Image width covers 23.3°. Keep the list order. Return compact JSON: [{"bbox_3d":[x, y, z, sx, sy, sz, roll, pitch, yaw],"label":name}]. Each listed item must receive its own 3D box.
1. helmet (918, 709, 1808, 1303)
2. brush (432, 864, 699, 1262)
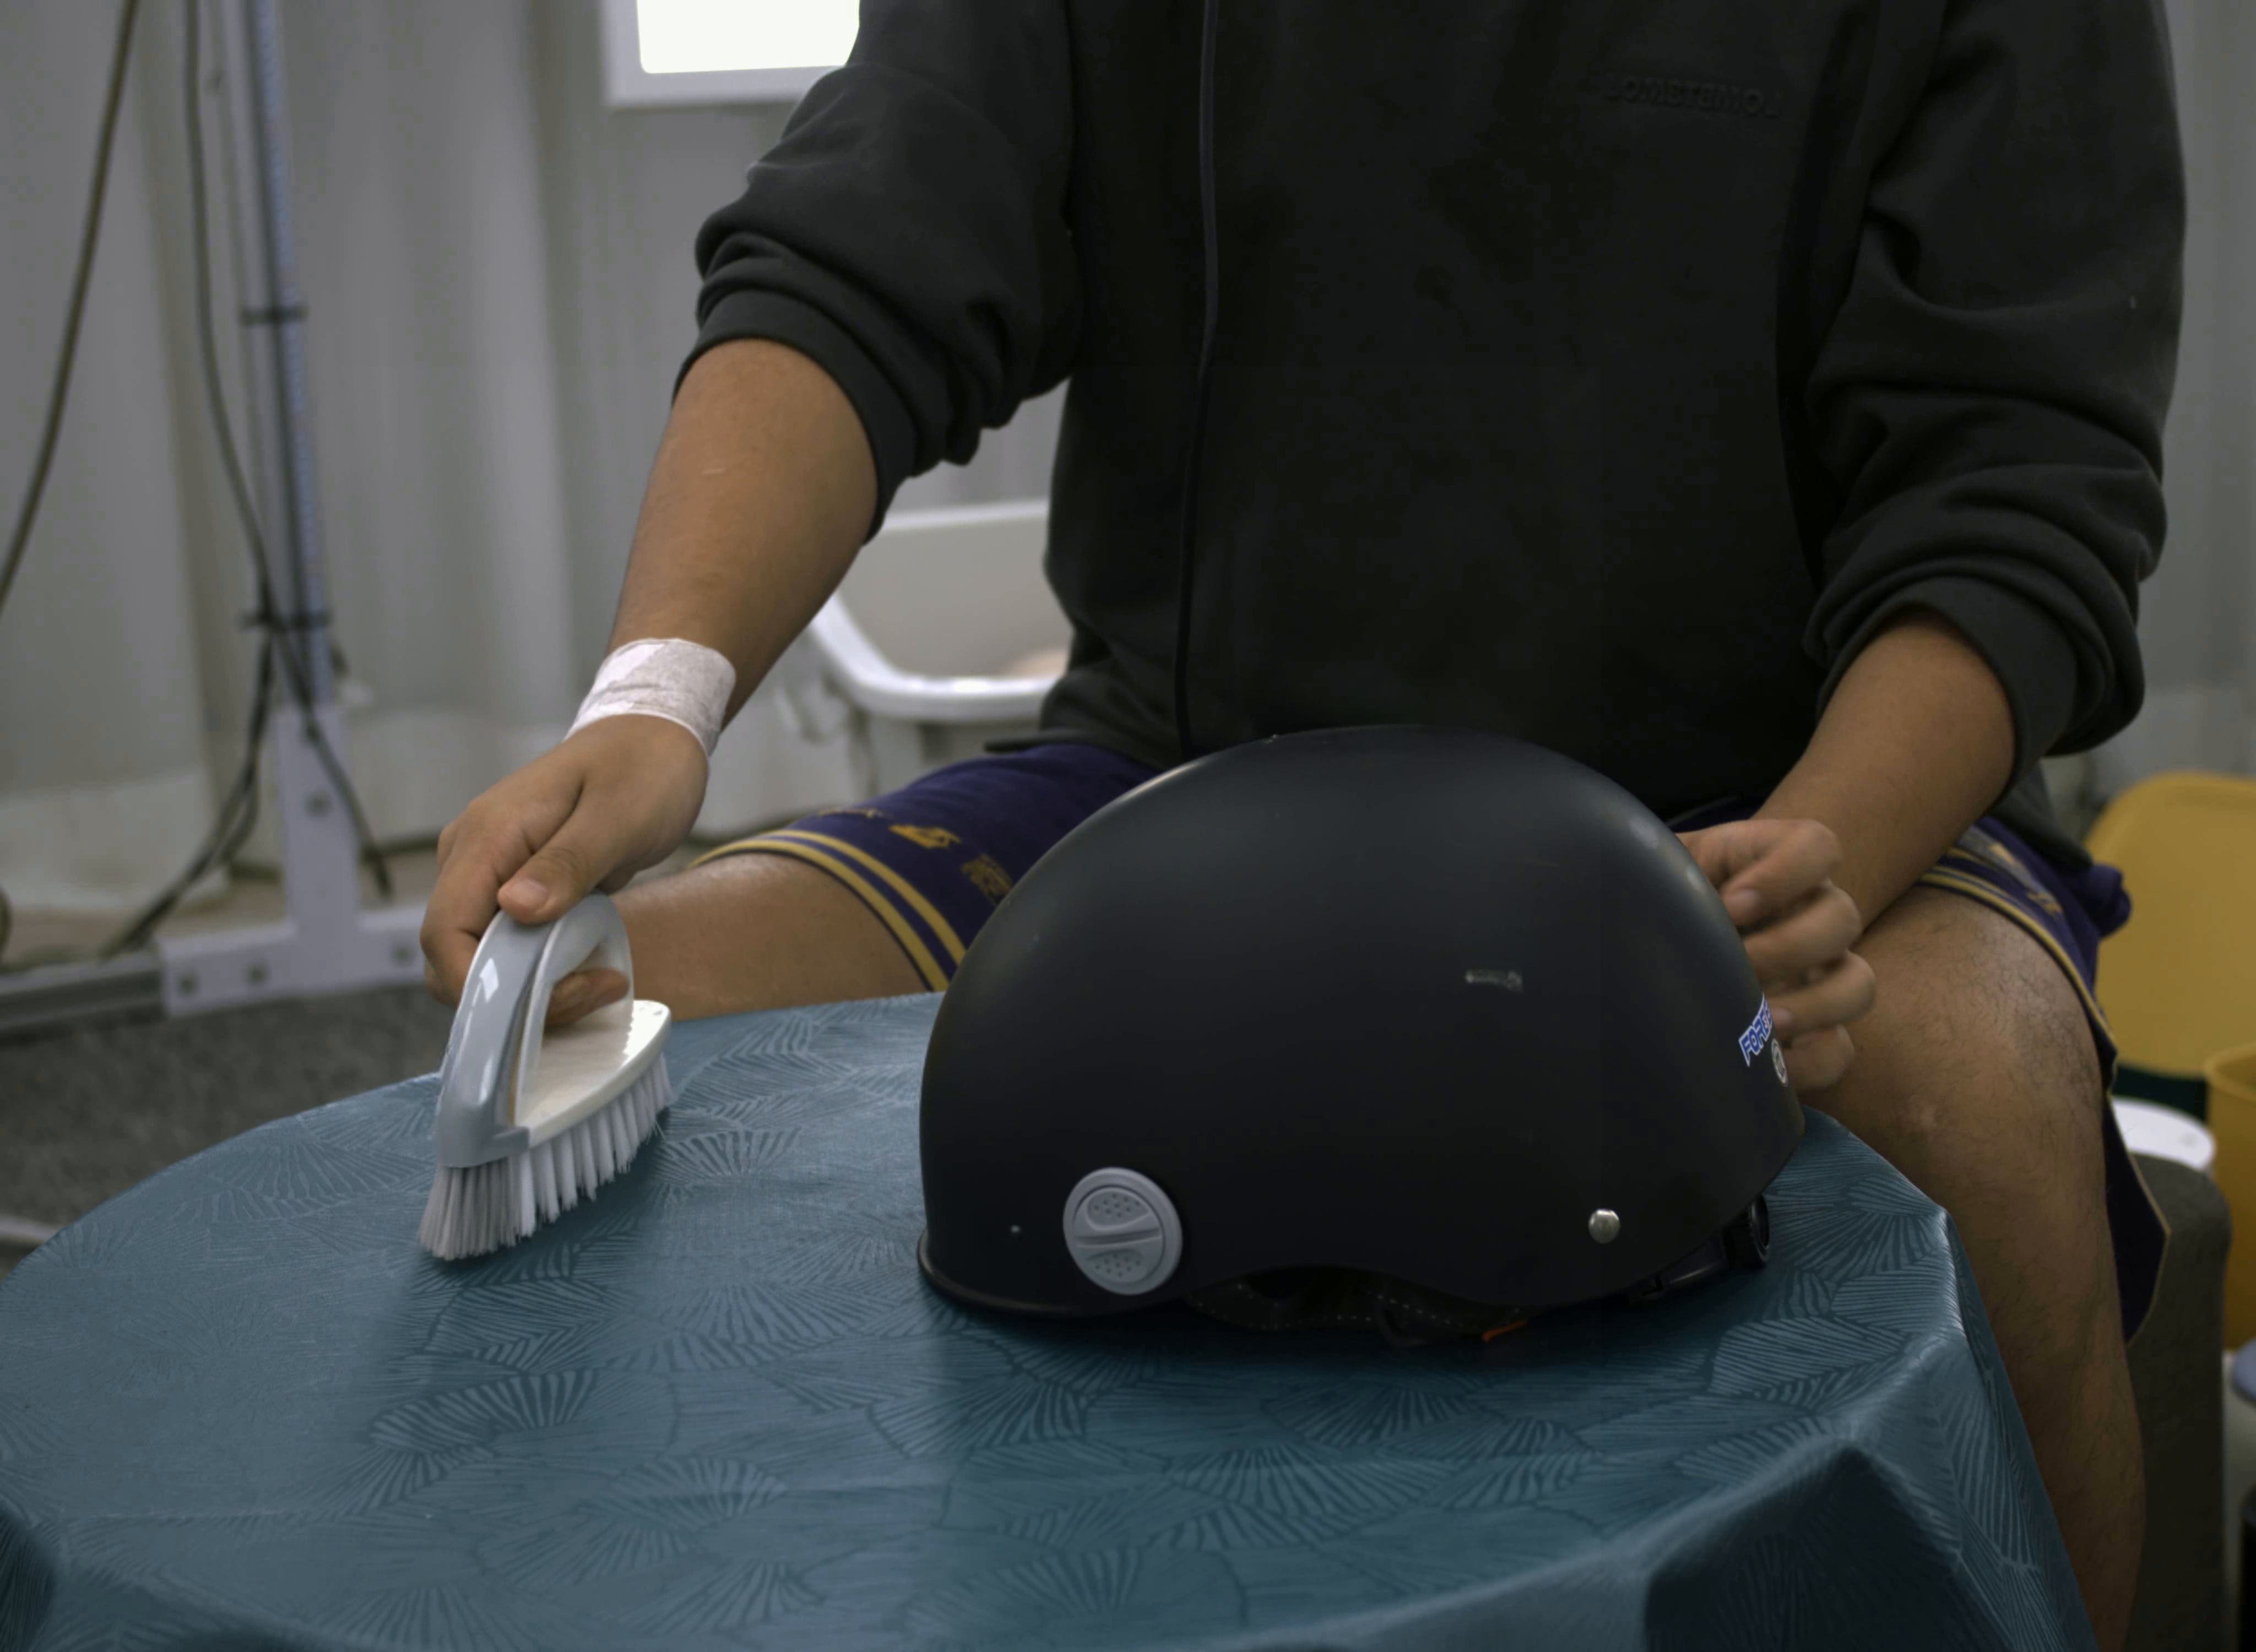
[{"bbox_3d":[0.064,0.050,1.638,0.273,0.166,0.231,0,14,19],"label":"helmet"},{"bbox_3d":[-0.187,0.070,1.743,0.061,0.094,0.176,2,18,14],"label":"brush"}]
